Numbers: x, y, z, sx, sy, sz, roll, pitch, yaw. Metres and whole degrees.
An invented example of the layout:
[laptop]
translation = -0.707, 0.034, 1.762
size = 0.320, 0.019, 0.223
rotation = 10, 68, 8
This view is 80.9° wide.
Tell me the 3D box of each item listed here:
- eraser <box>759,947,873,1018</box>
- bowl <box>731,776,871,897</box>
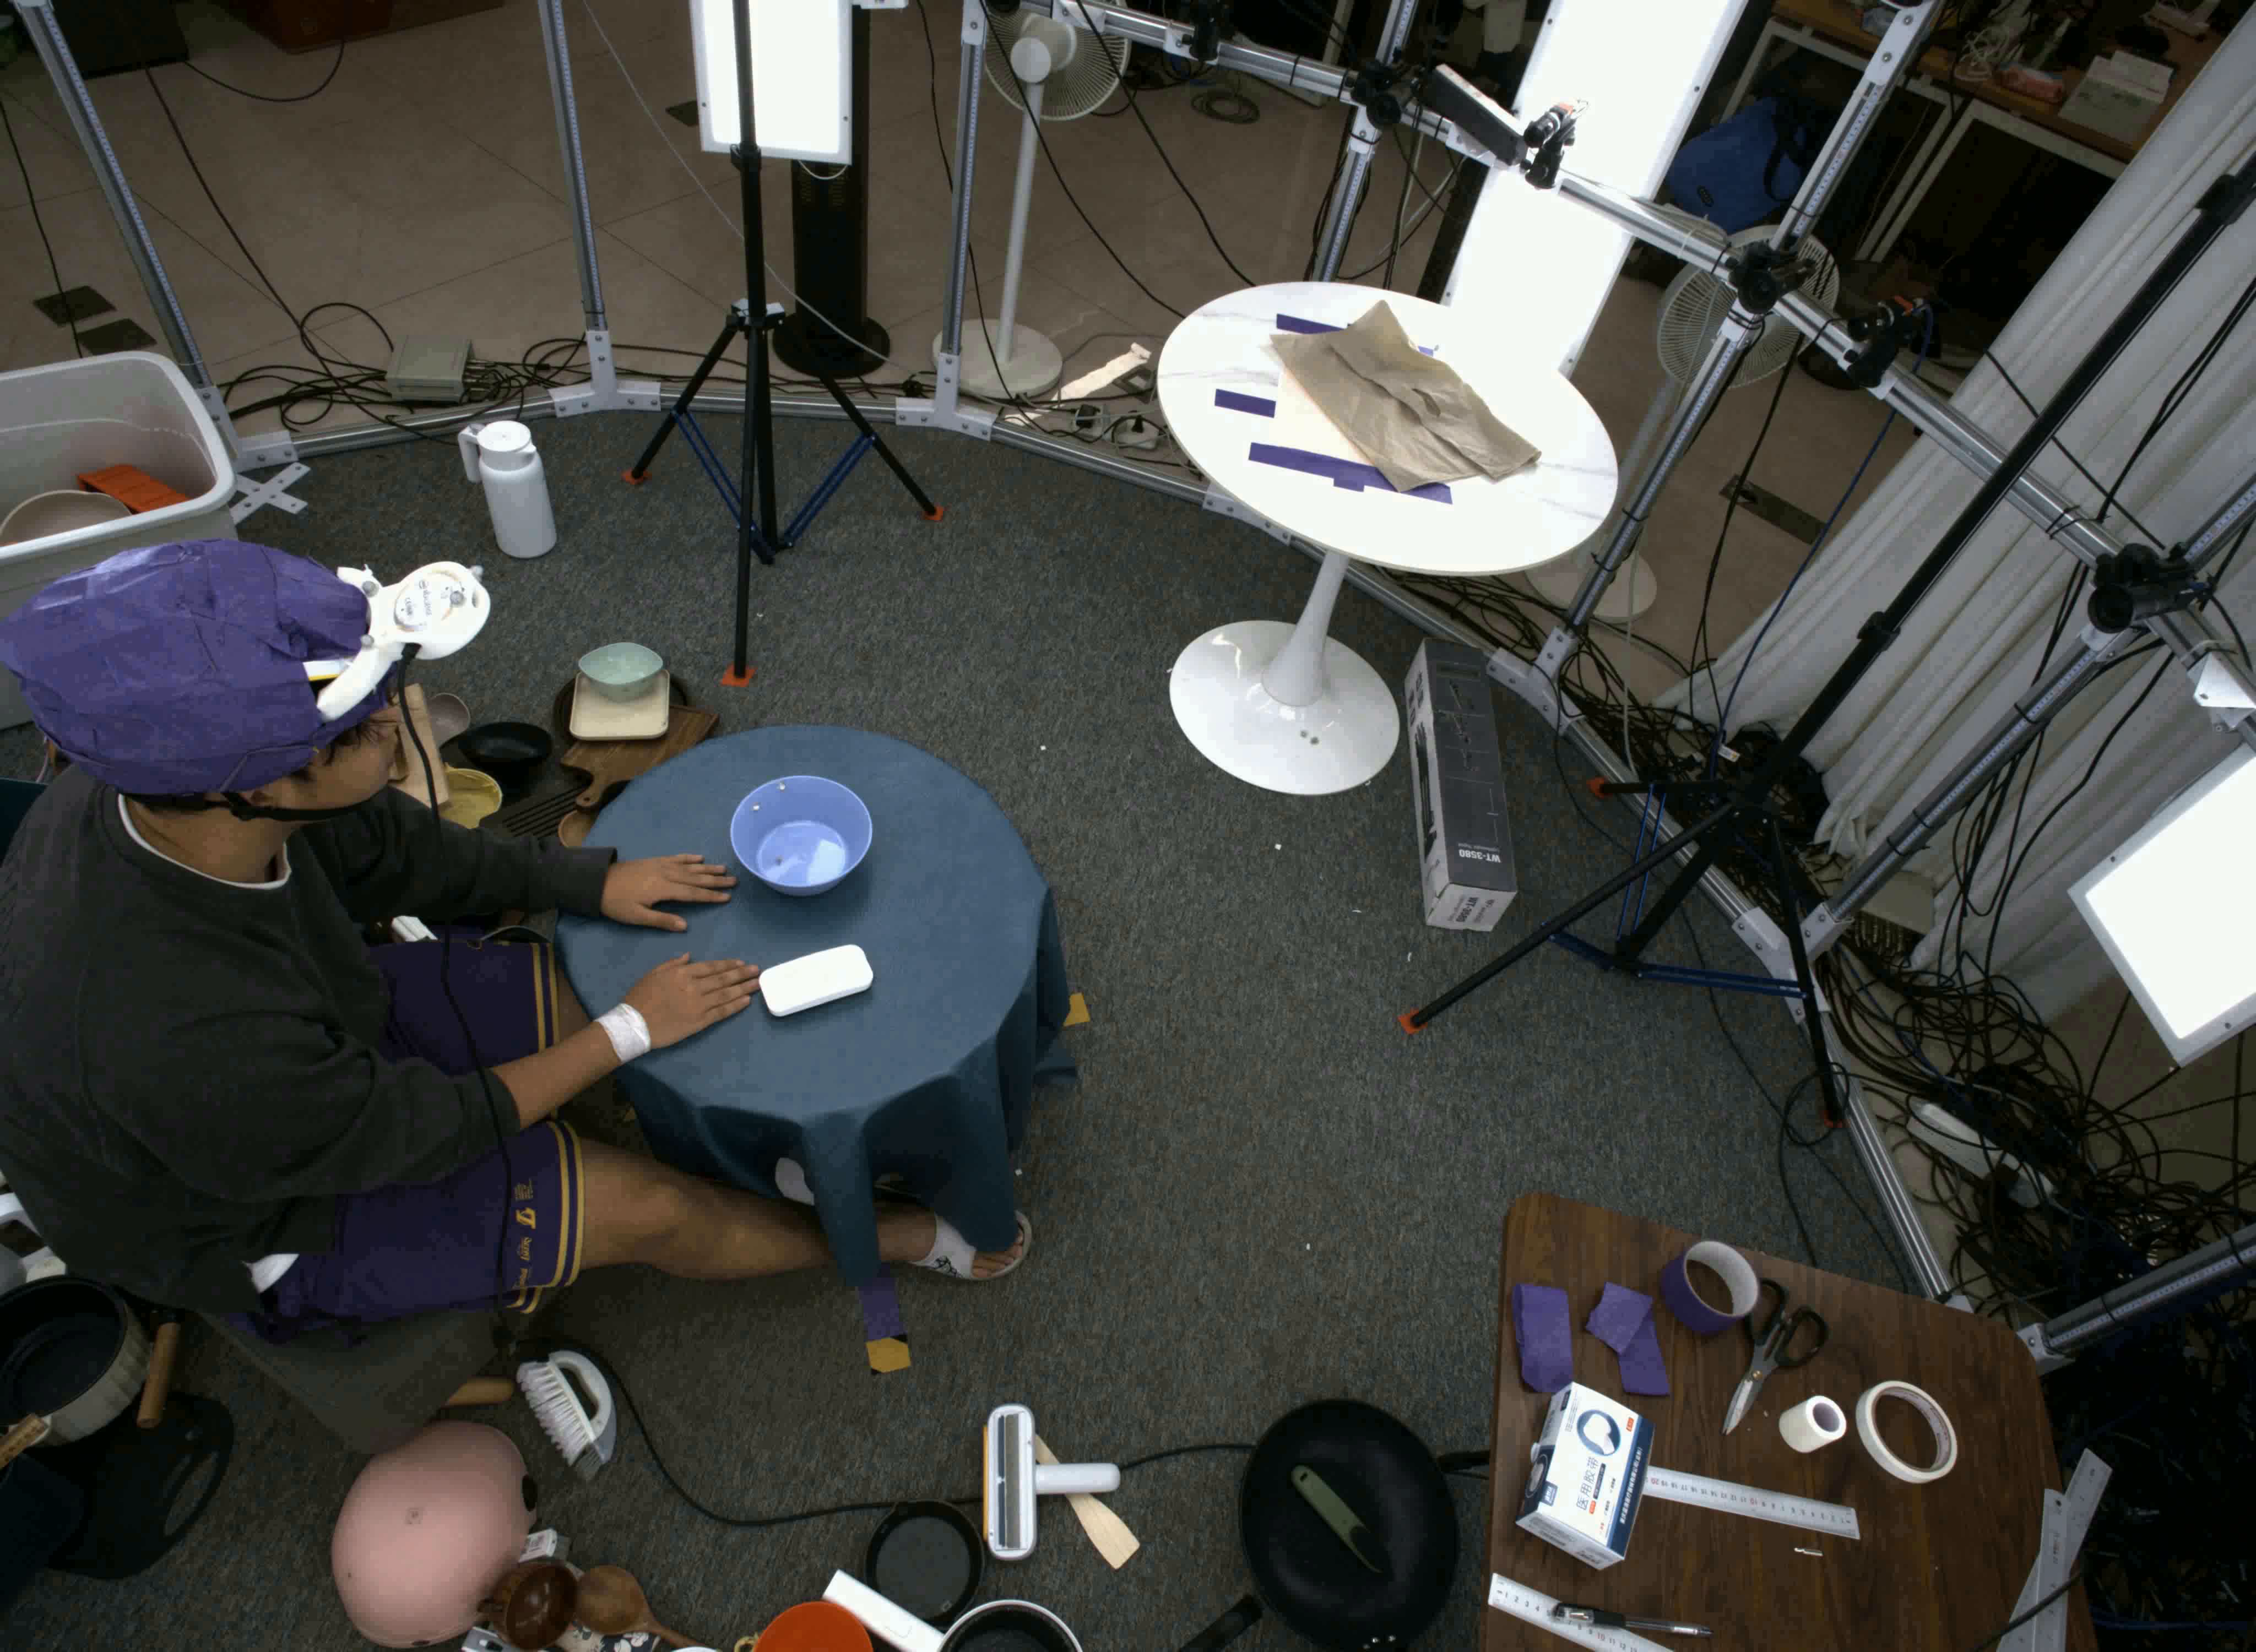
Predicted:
[eraser]
translation = -0.380, 0.186, 1.581
size = 0.132, 0.035, 0.062
rotation = -14, 56, -25
[bowl]
translation = -0.418, 0.023, 1.667
size = 0.175, 0.072, 0.173
rotation = 8, 51, -8
